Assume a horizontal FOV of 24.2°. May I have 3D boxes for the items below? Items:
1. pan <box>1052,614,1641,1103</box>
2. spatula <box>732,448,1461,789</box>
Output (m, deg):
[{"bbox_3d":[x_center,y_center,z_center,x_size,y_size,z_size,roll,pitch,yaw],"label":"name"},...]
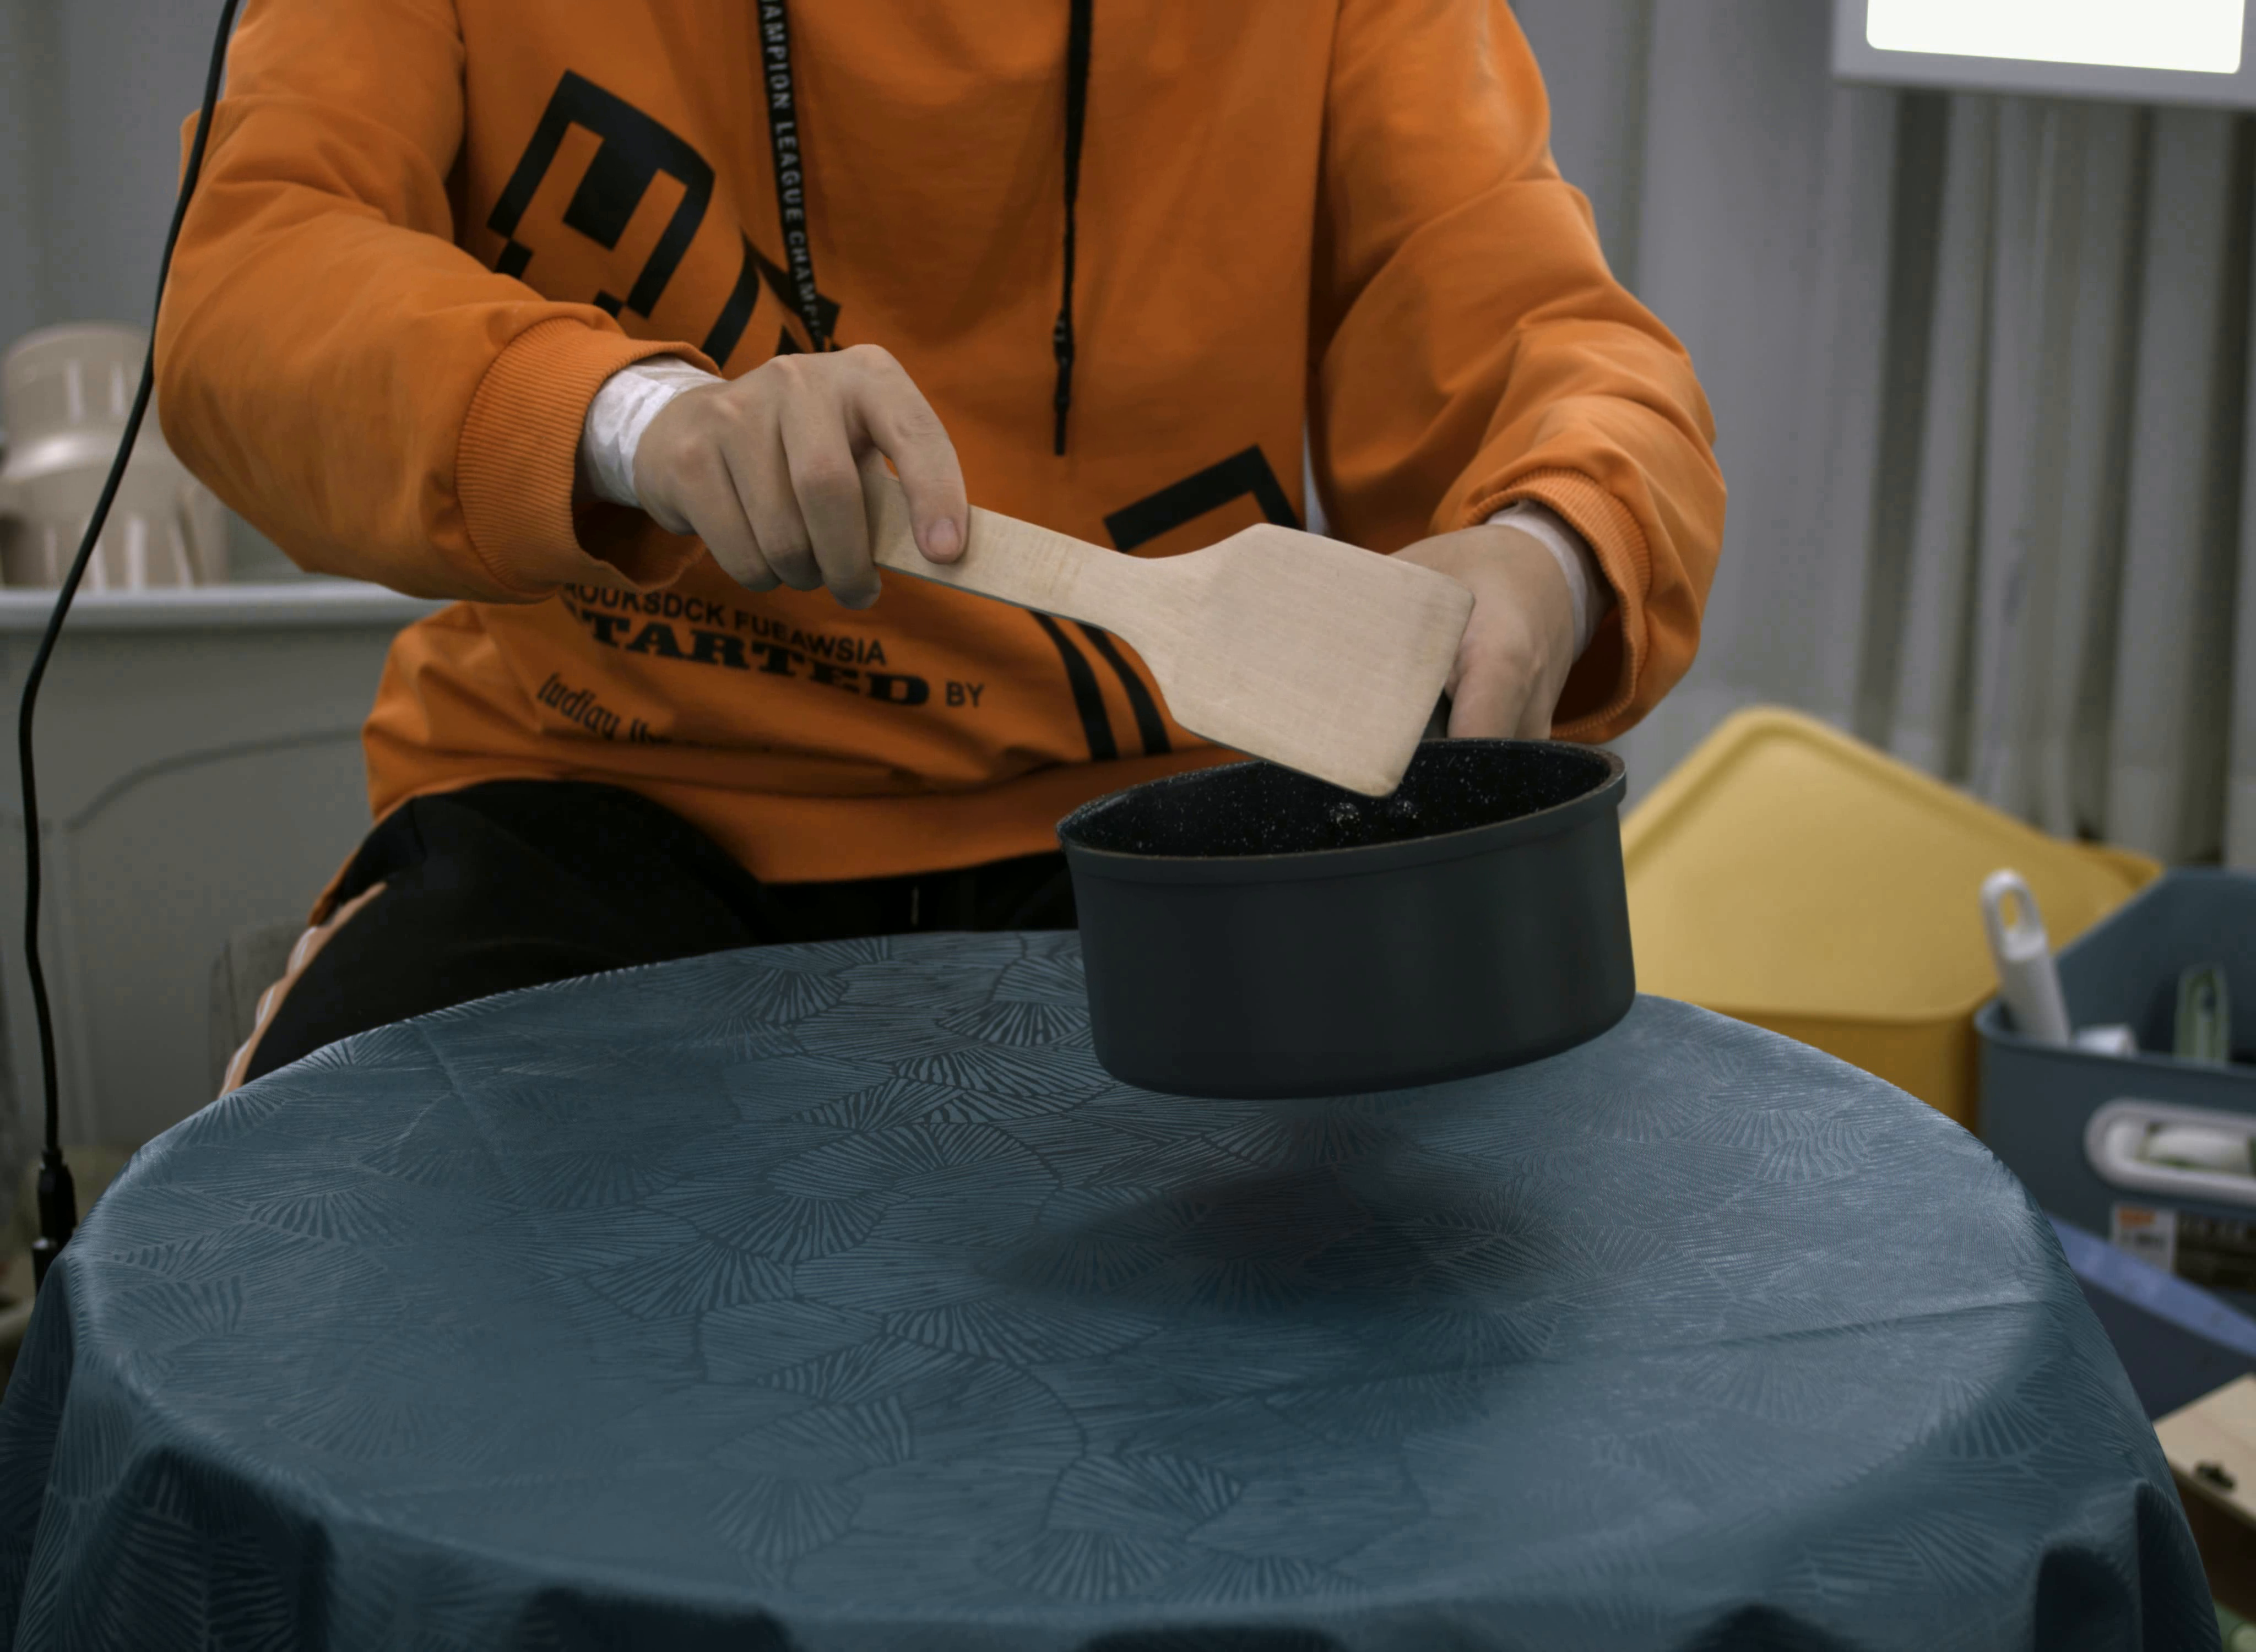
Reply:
[{"bbox_3d":[0.081,0.007,1.640,0.171,0.087,0.328,-4,12,12],"label":"pan"},{"bbox_3d":[-0.020,-0.078,1.617,0.289,0.072,0.011,18,-4,39],"label":"spatula"}]
